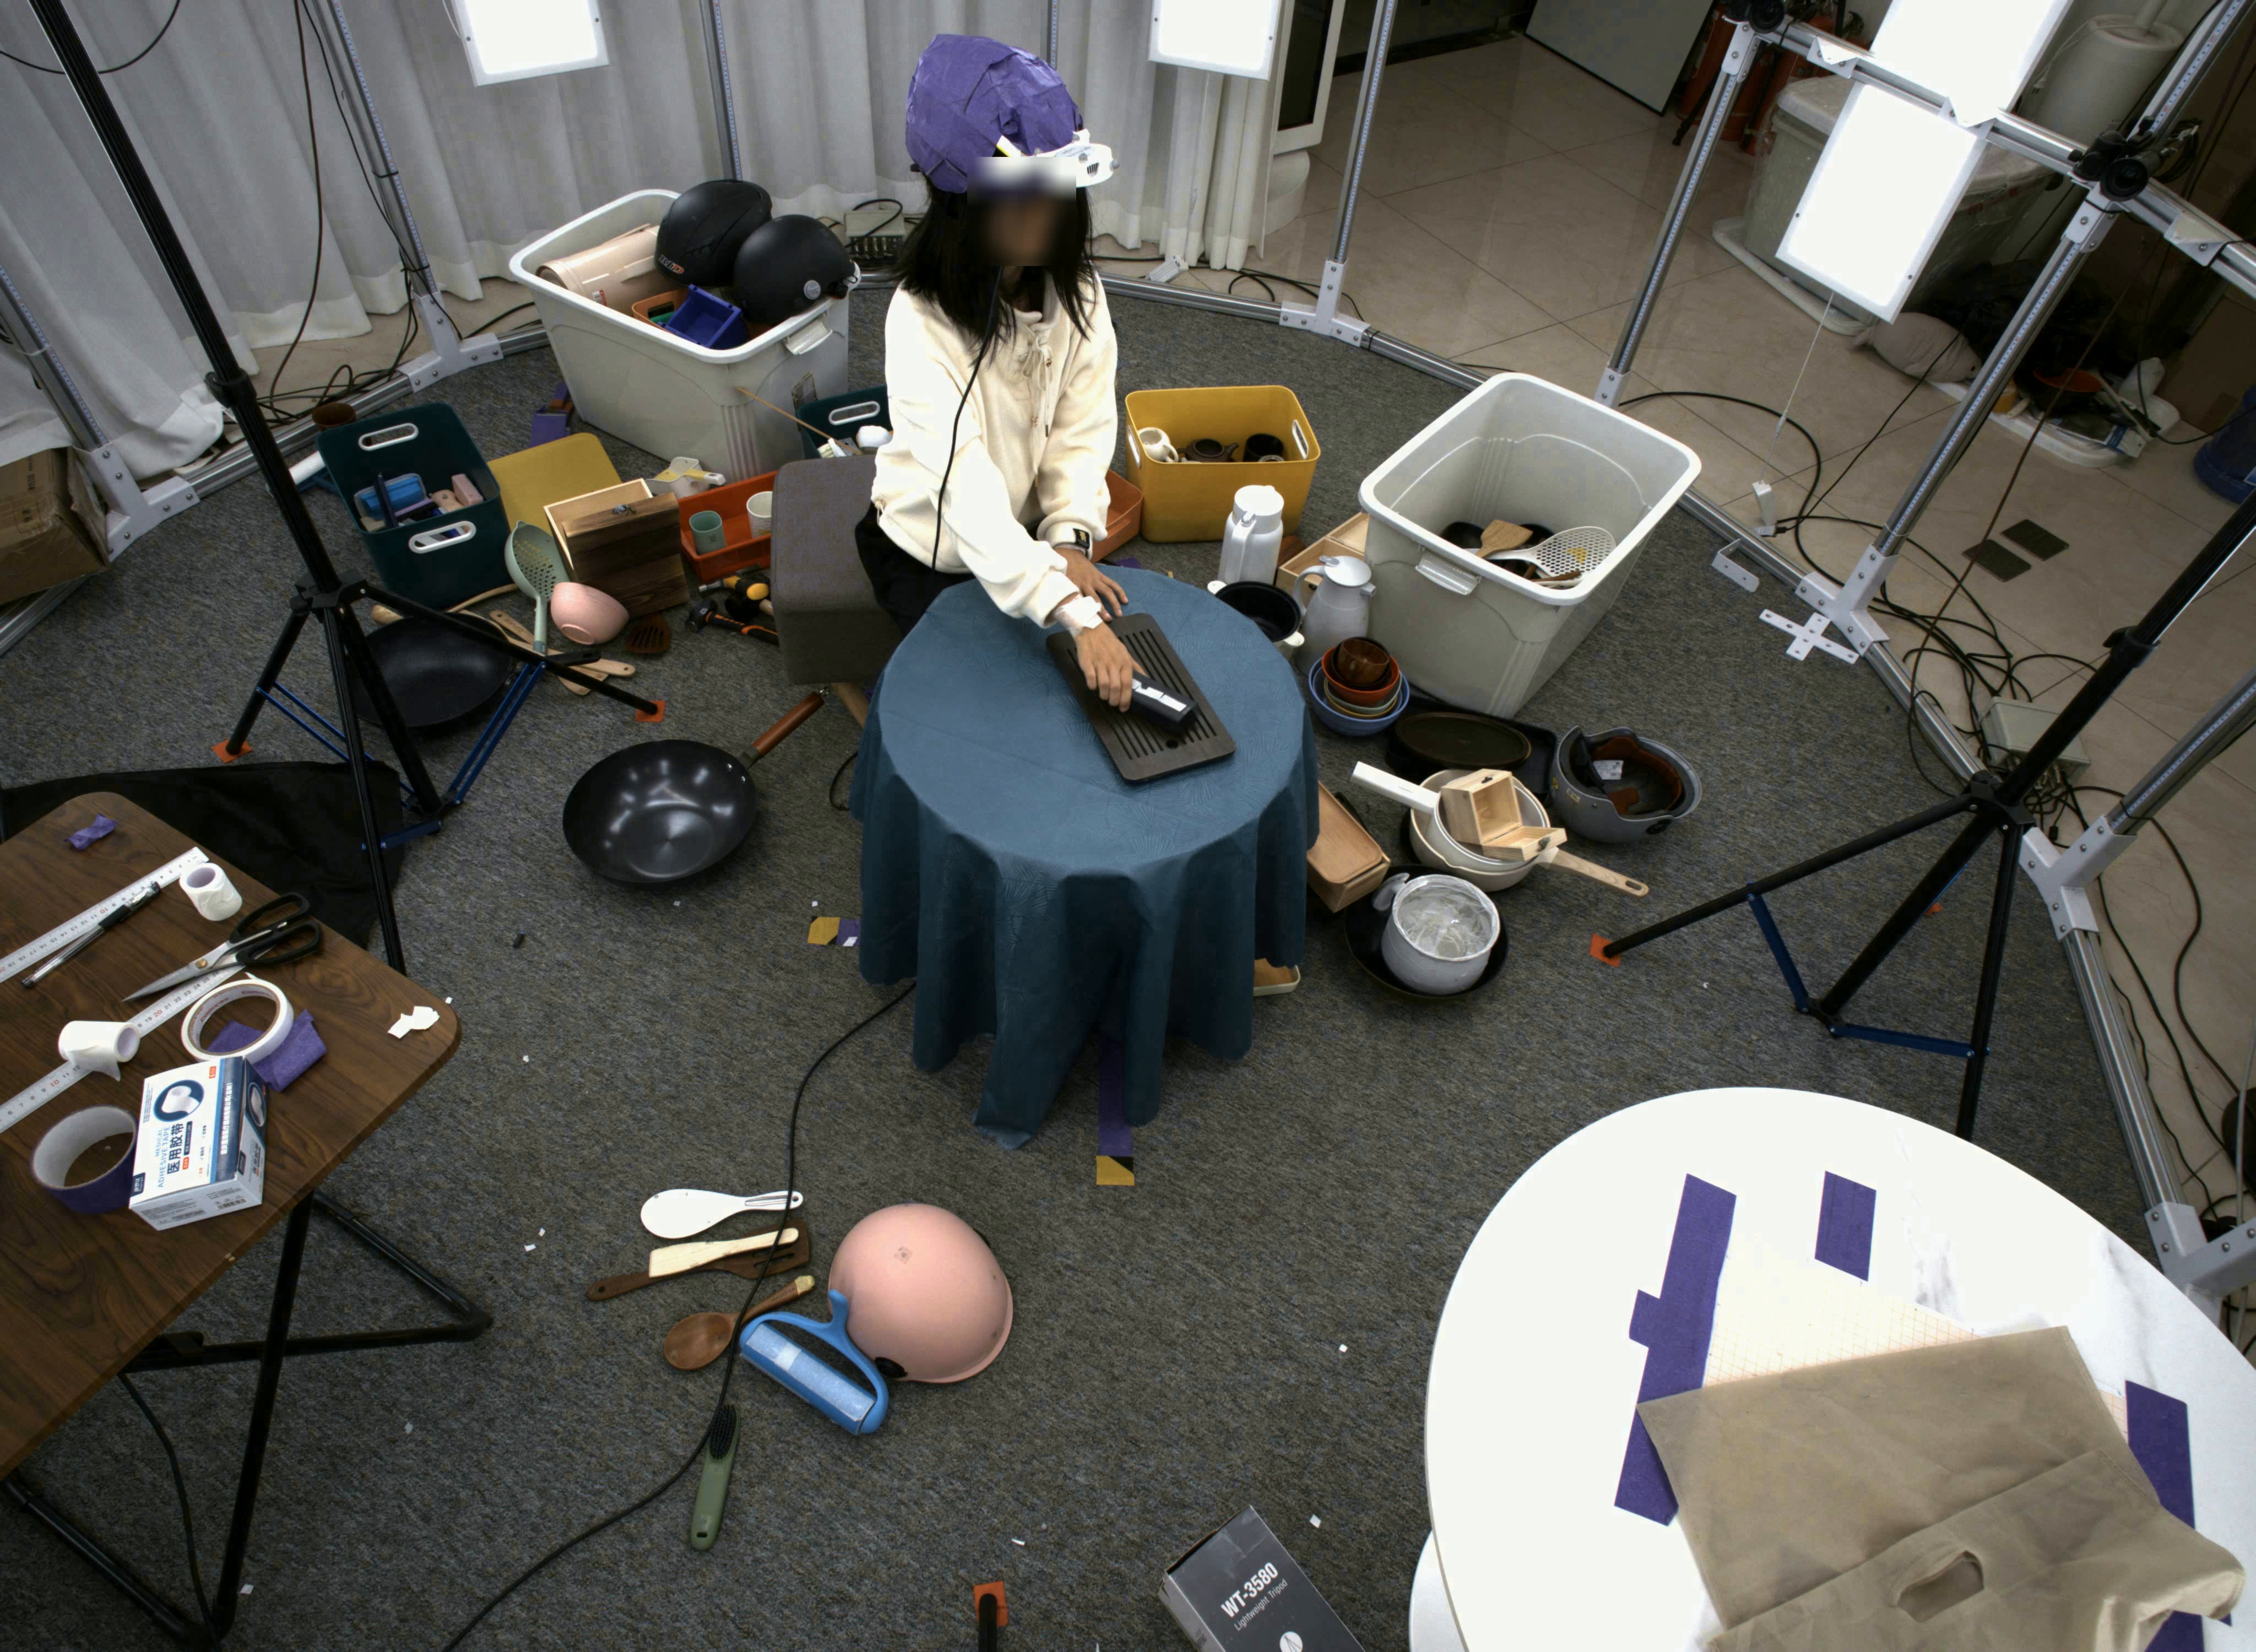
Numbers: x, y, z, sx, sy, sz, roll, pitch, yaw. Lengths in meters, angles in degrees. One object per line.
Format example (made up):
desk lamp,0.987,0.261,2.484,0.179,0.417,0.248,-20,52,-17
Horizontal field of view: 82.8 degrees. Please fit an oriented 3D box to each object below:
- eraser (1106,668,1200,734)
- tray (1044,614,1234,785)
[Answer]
eraser,0.035,-0.175,1.786,0.127,0.030,0.054,28,49,21
tray,0.012,-0.184,1.819,0.170,0.018,0.313,-16,52,-17
